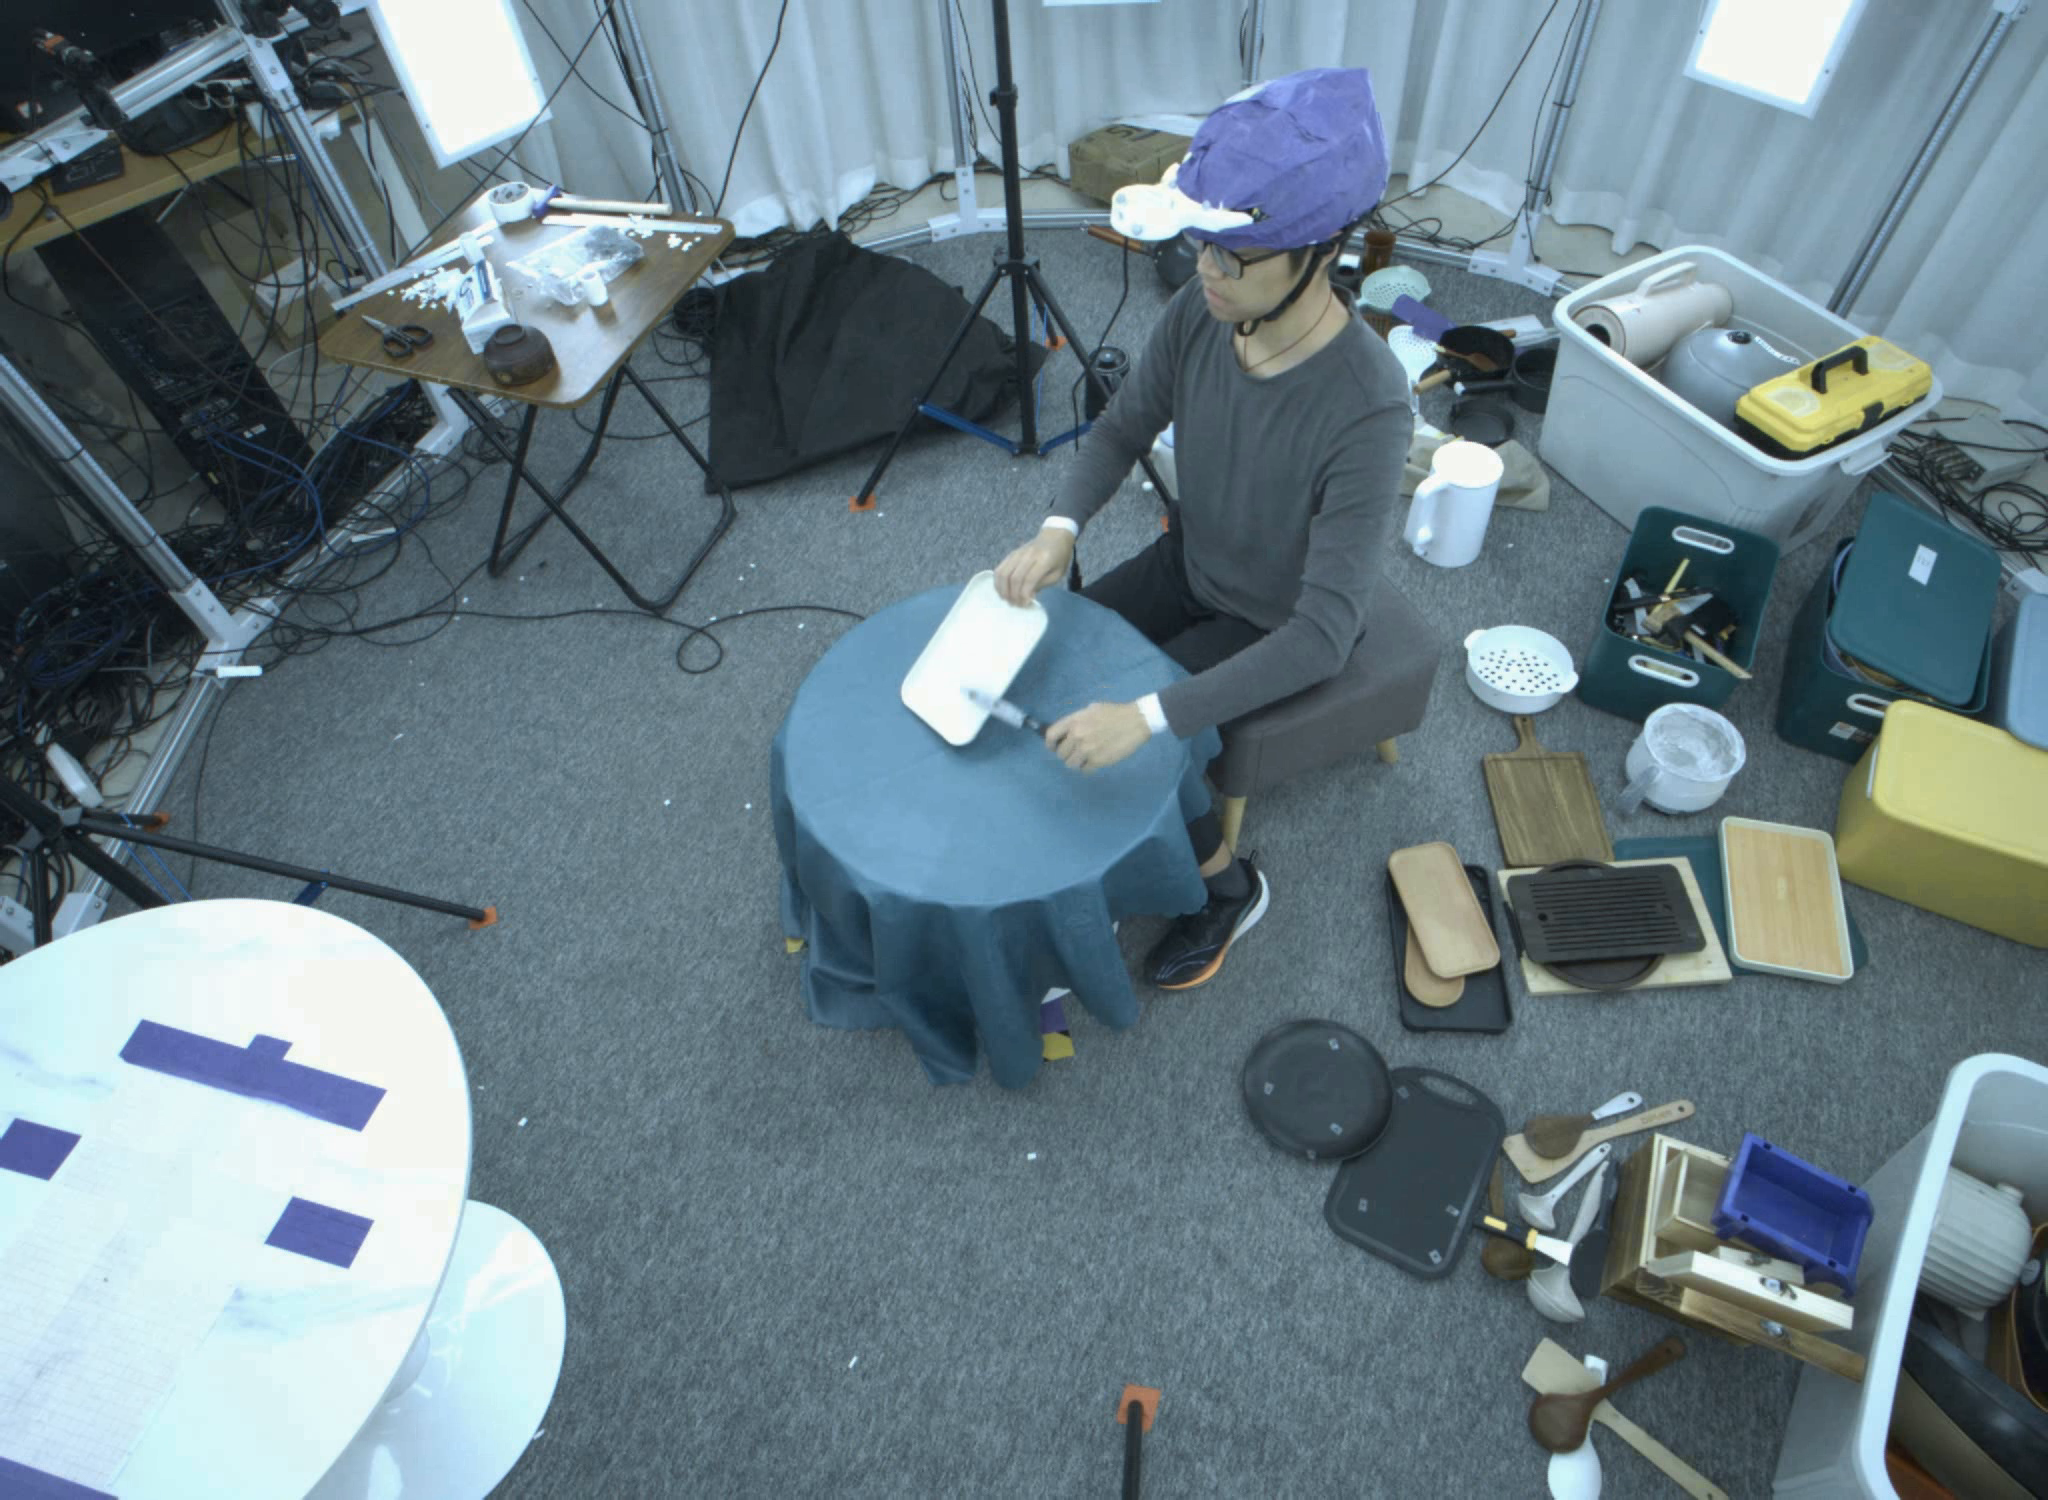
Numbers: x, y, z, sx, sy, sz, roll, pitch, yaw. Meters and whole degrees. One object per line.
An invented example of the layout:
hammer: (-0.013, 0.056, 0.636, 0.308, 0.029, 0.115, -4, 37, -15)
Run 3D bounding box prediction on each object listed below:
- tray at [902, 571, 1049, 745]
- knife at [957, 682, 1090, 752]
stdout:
tray: (-0.072, -0.136, 1.803, 0.167, 0.018, 0.239, 39, 98, 34)
knife: (-0.003, -0.053, 1.733, 0.233, 0.016, 0.024, 27, 91, 26)
